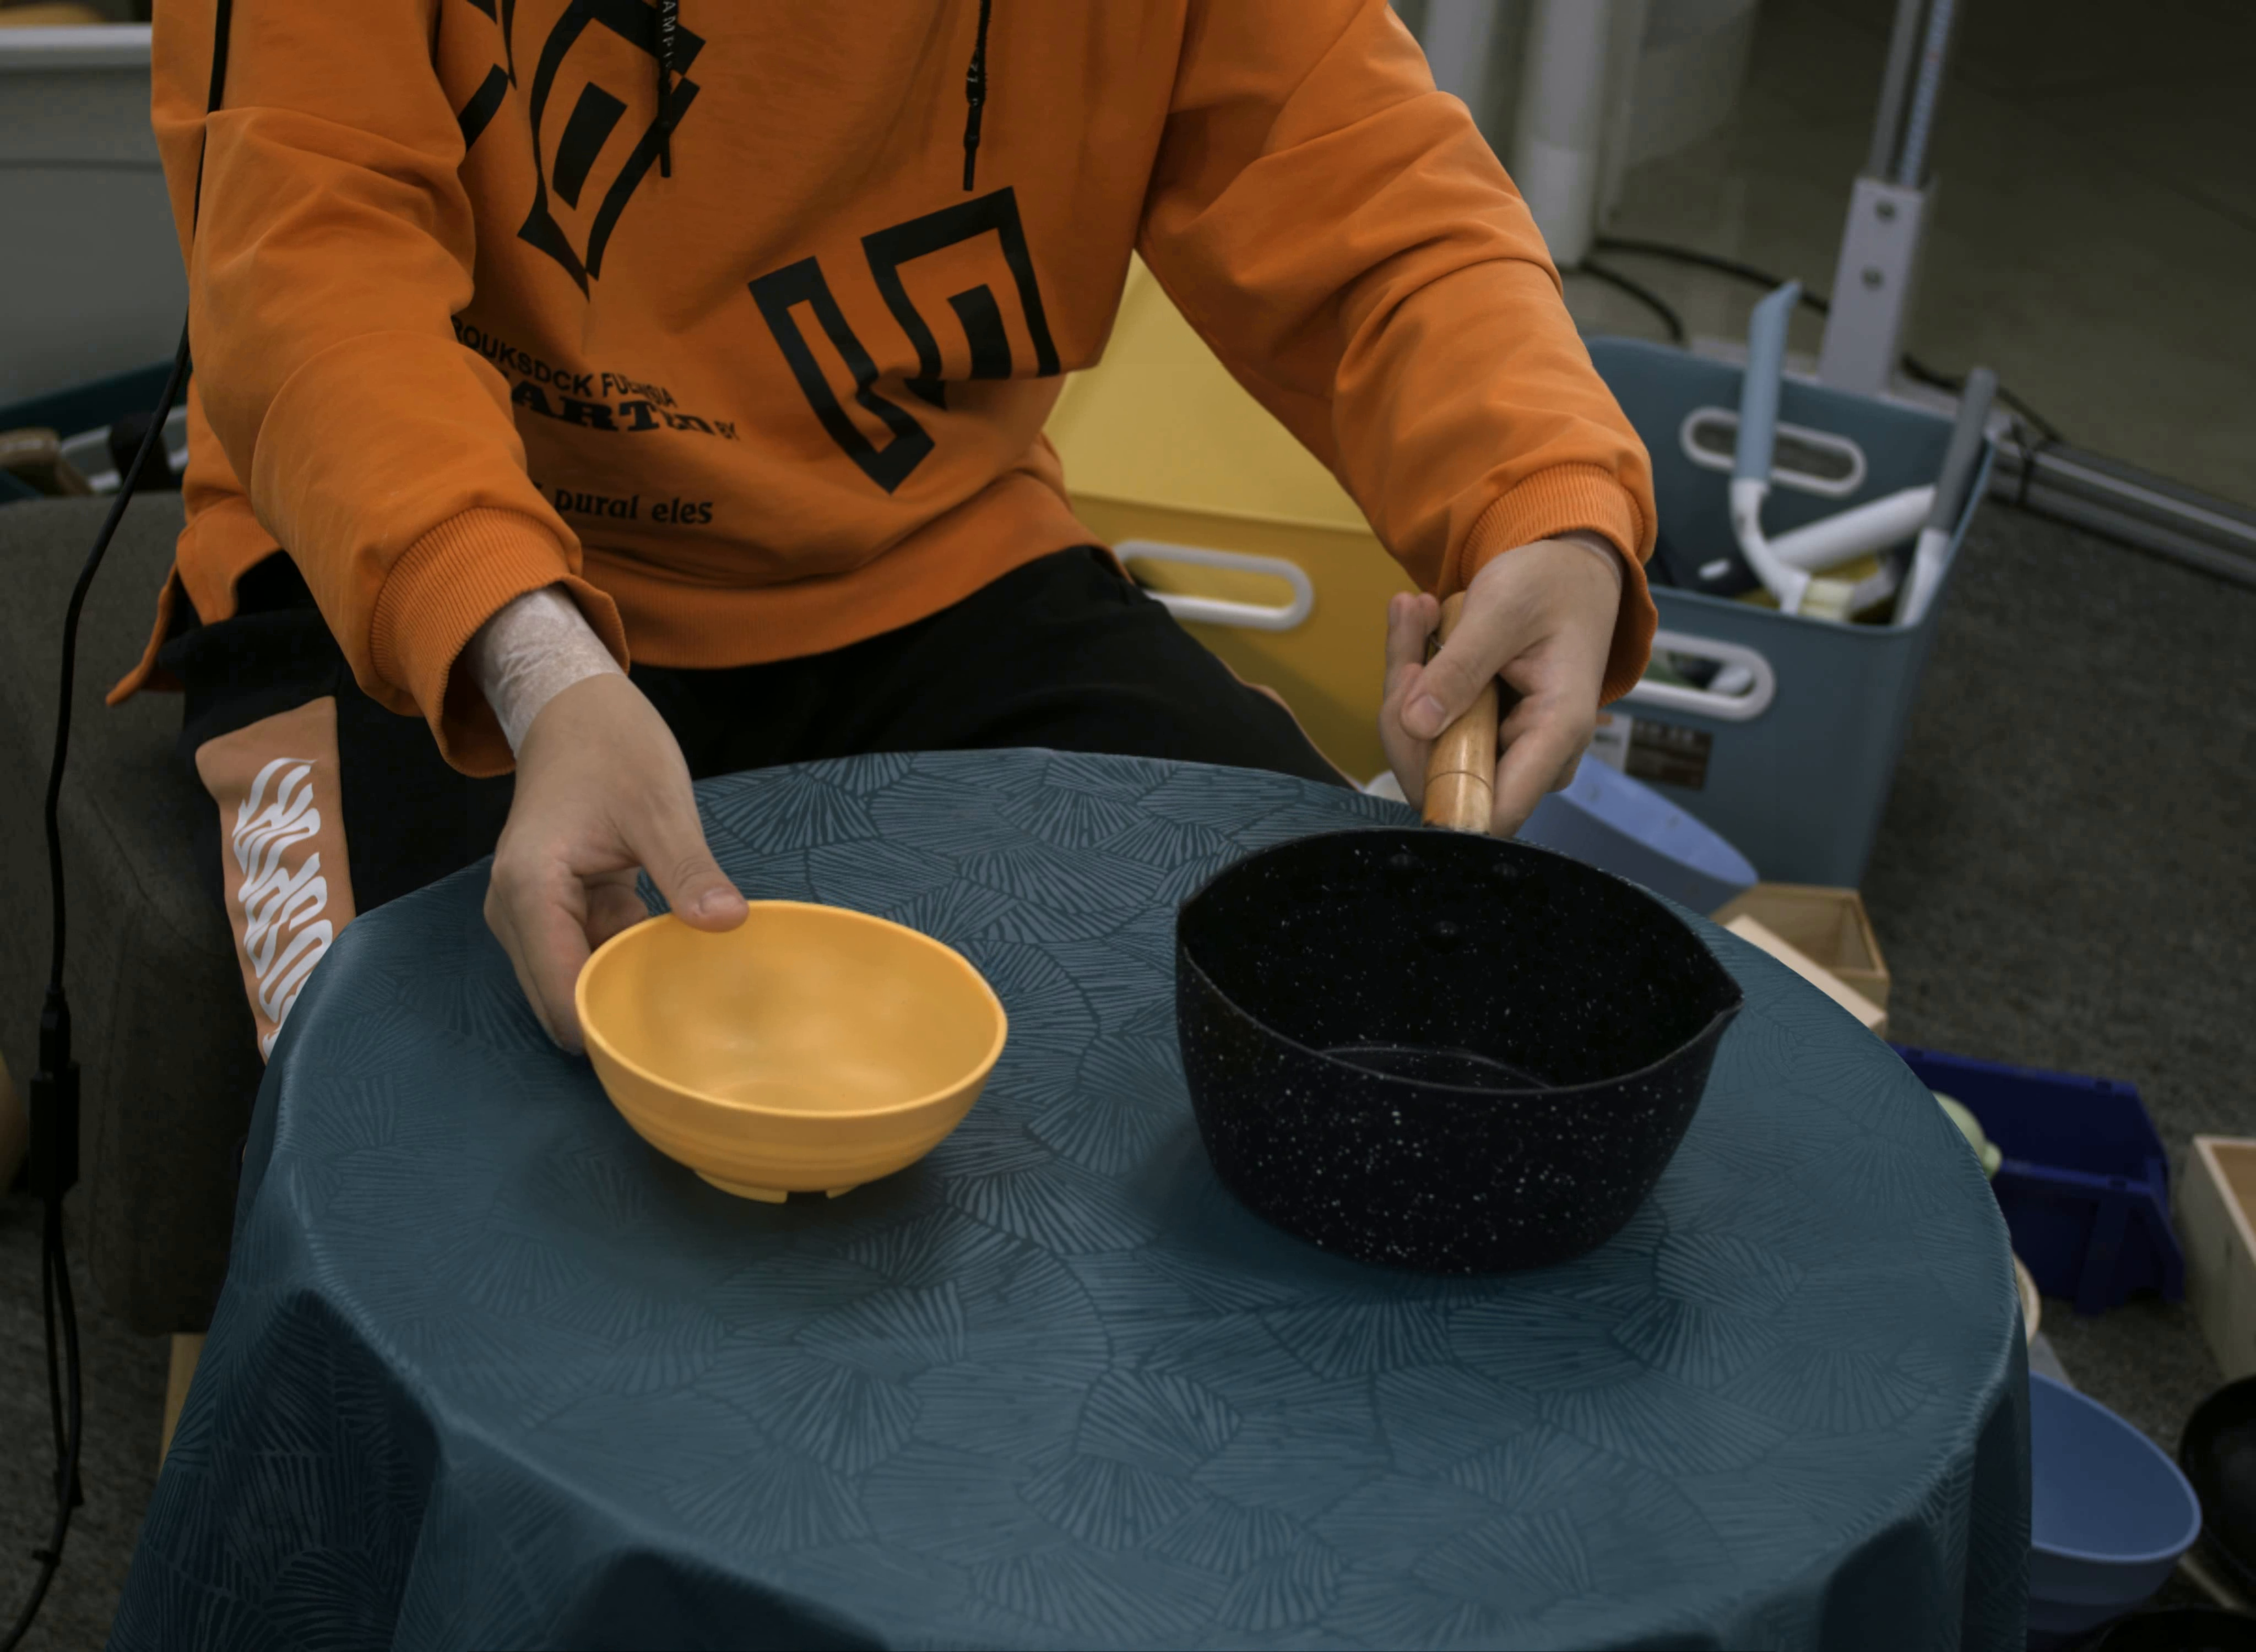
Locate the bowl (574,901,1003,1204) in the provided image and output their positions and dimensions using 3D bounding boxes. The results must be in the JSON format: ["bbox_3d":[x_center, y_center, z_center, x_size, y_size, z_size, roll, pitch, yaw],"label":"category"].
[{"bbox_3d":[-0.116,0.085,1.789,0.145,0.060,0.146,6,26,-3],"label":"bowl"}]

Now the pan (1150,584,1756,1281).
[{"bbox_3d":[0.112,0.033,1.885,0.207,0.108,0.345,6,28,1],"label":"pan"}]
